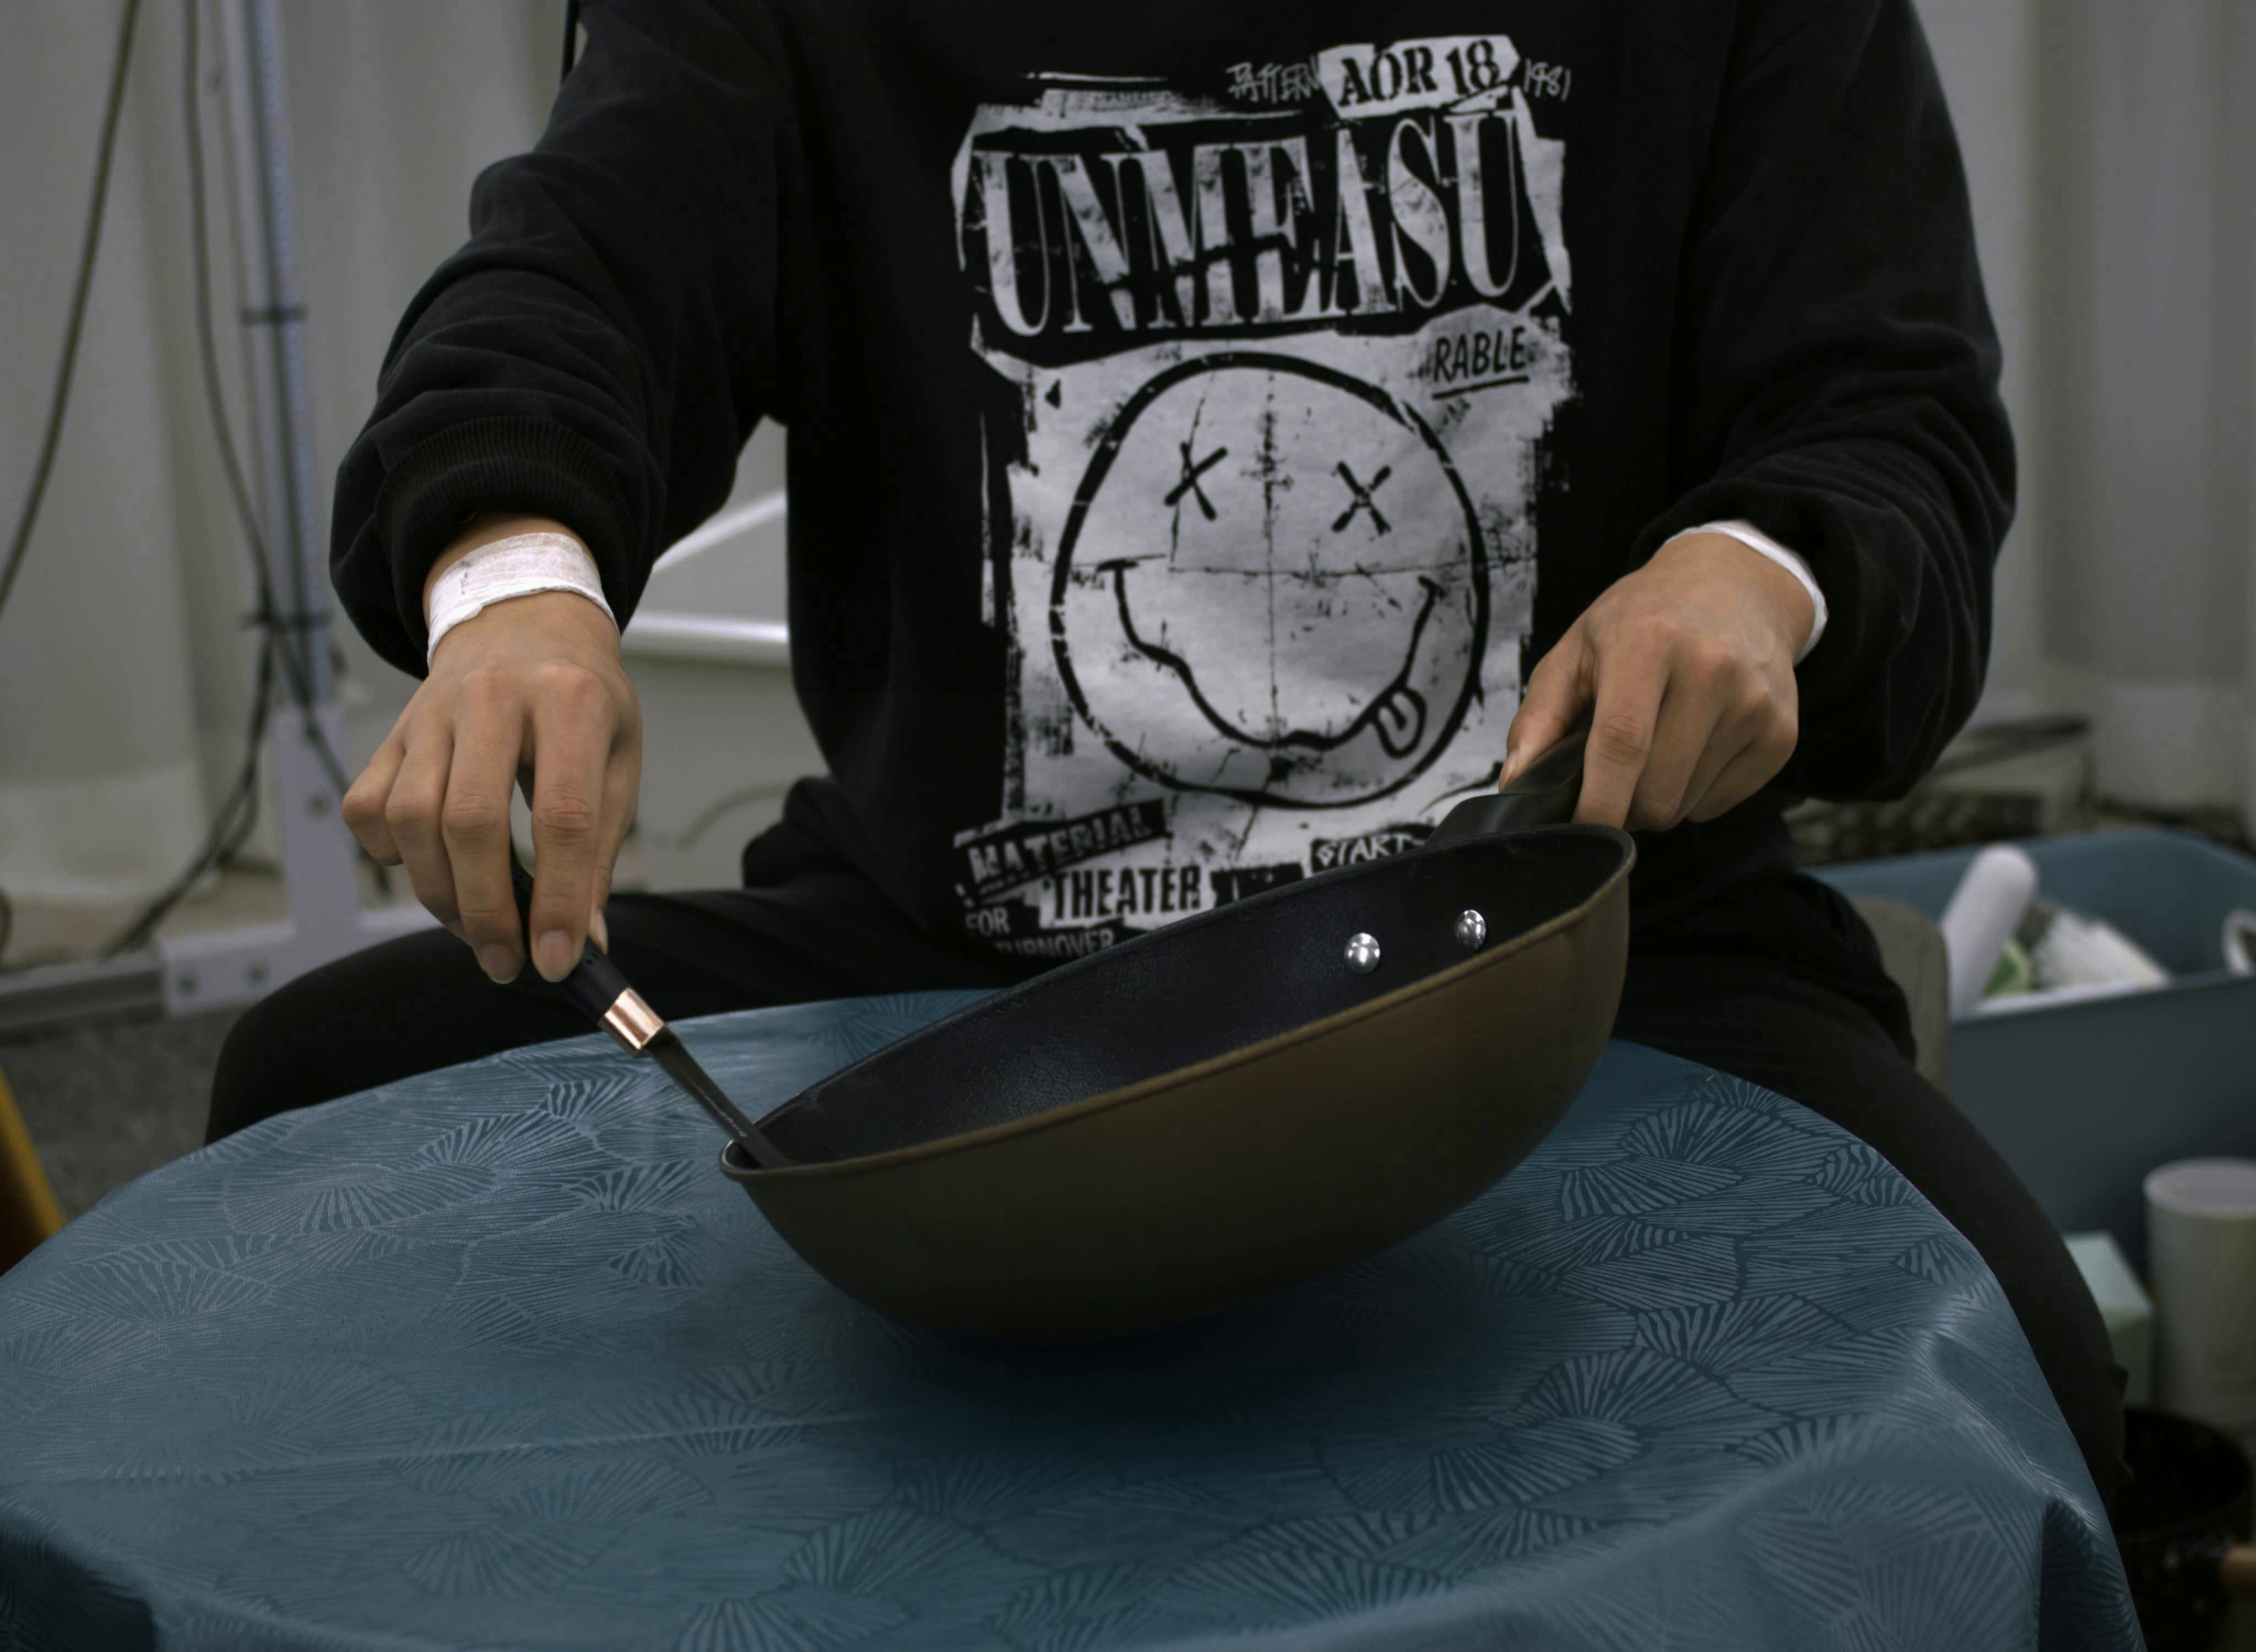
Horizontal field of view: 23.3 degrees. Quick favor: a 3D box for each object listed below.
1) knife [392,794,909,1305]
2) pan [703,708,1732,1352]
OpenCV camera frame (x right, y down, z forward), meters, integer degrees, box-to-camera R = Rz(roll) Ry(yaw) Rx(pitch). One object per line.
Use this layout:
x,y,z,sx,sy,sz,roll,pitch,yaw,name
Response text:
-0.139,0.068,1.622,0.227,0.017,0.026,43,0,16,knife
0.072,0.061,1.654,0.288,0.087,0.464,-15,7,37,pan
